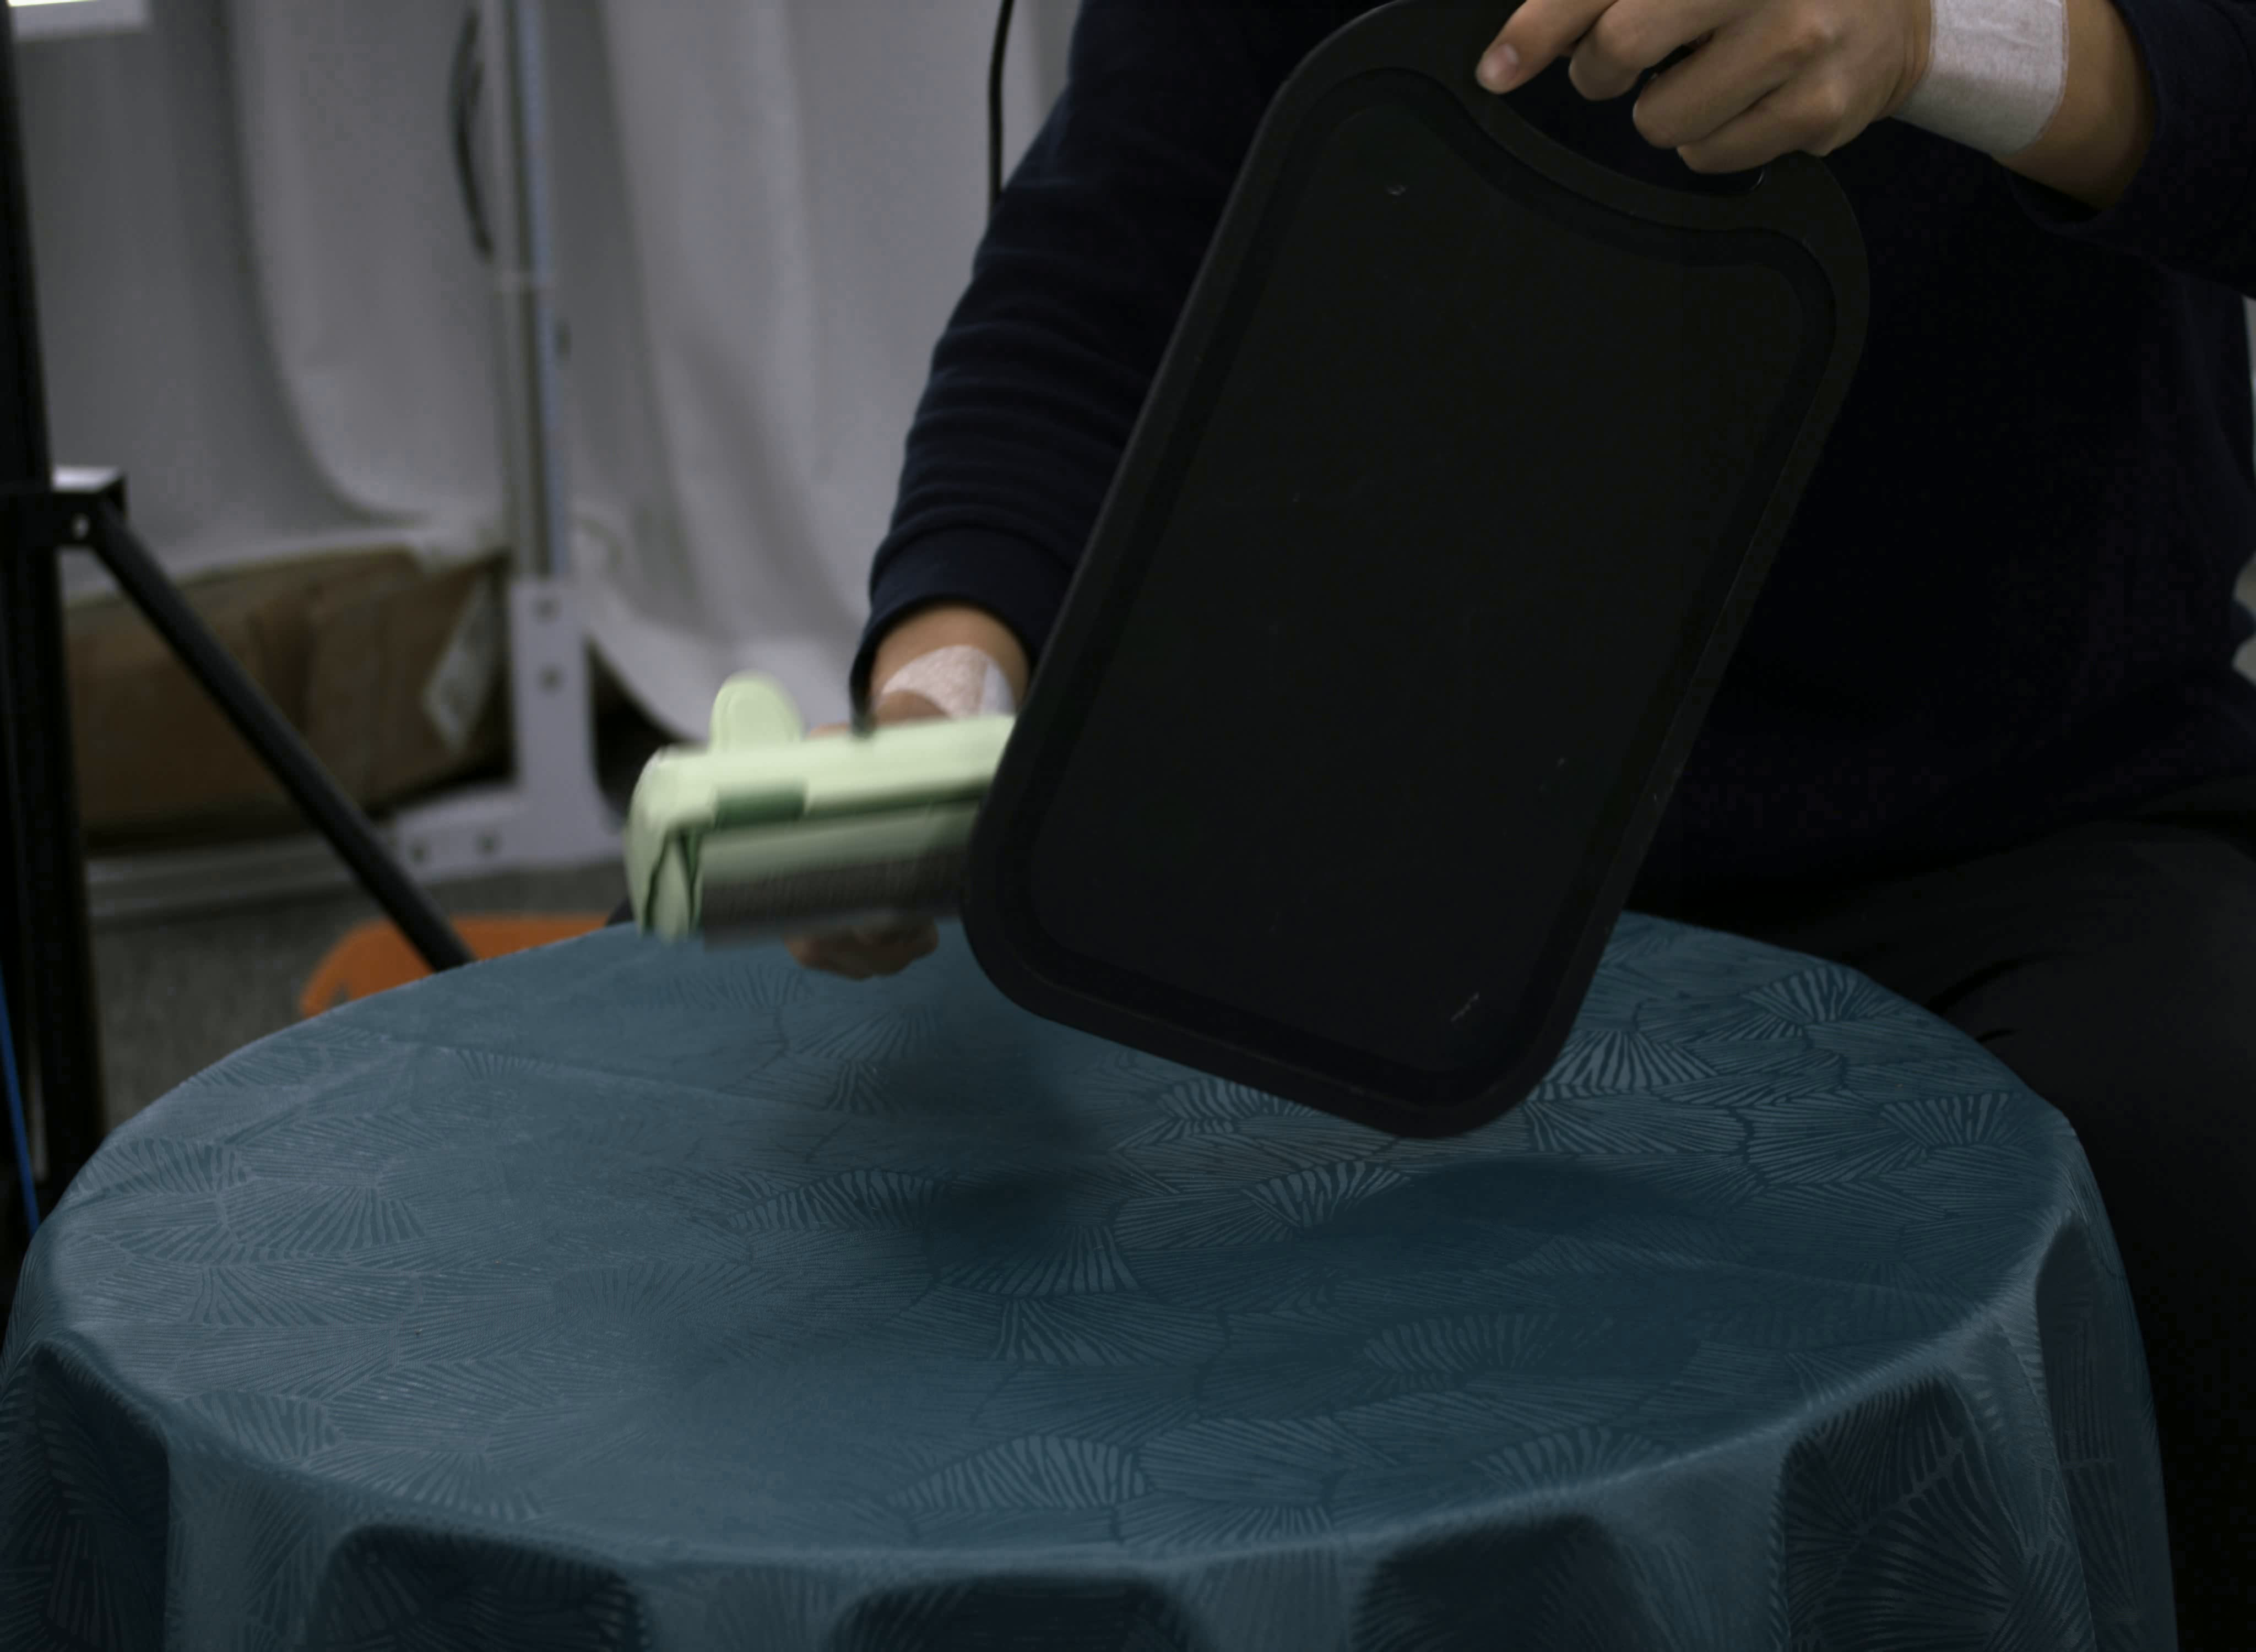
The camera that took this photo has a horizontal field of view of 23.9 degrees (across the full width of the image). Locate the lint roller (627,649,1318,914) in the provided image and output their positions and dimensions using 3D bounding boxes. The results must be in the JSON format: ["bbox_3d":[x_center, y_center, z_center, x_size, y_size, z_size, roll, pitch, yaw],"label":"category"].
[{"bbox_3d":[-0.061,-0.015,1.585,0.195,0.082,0.185,-5,0,-16],"label":"lint roller"}]

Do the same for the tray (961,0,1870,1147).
[{"bbox_3d":[0.088,-0.076,1.516,0.206,0.326,0.010,21,5,-25],"label":"tray"}]
